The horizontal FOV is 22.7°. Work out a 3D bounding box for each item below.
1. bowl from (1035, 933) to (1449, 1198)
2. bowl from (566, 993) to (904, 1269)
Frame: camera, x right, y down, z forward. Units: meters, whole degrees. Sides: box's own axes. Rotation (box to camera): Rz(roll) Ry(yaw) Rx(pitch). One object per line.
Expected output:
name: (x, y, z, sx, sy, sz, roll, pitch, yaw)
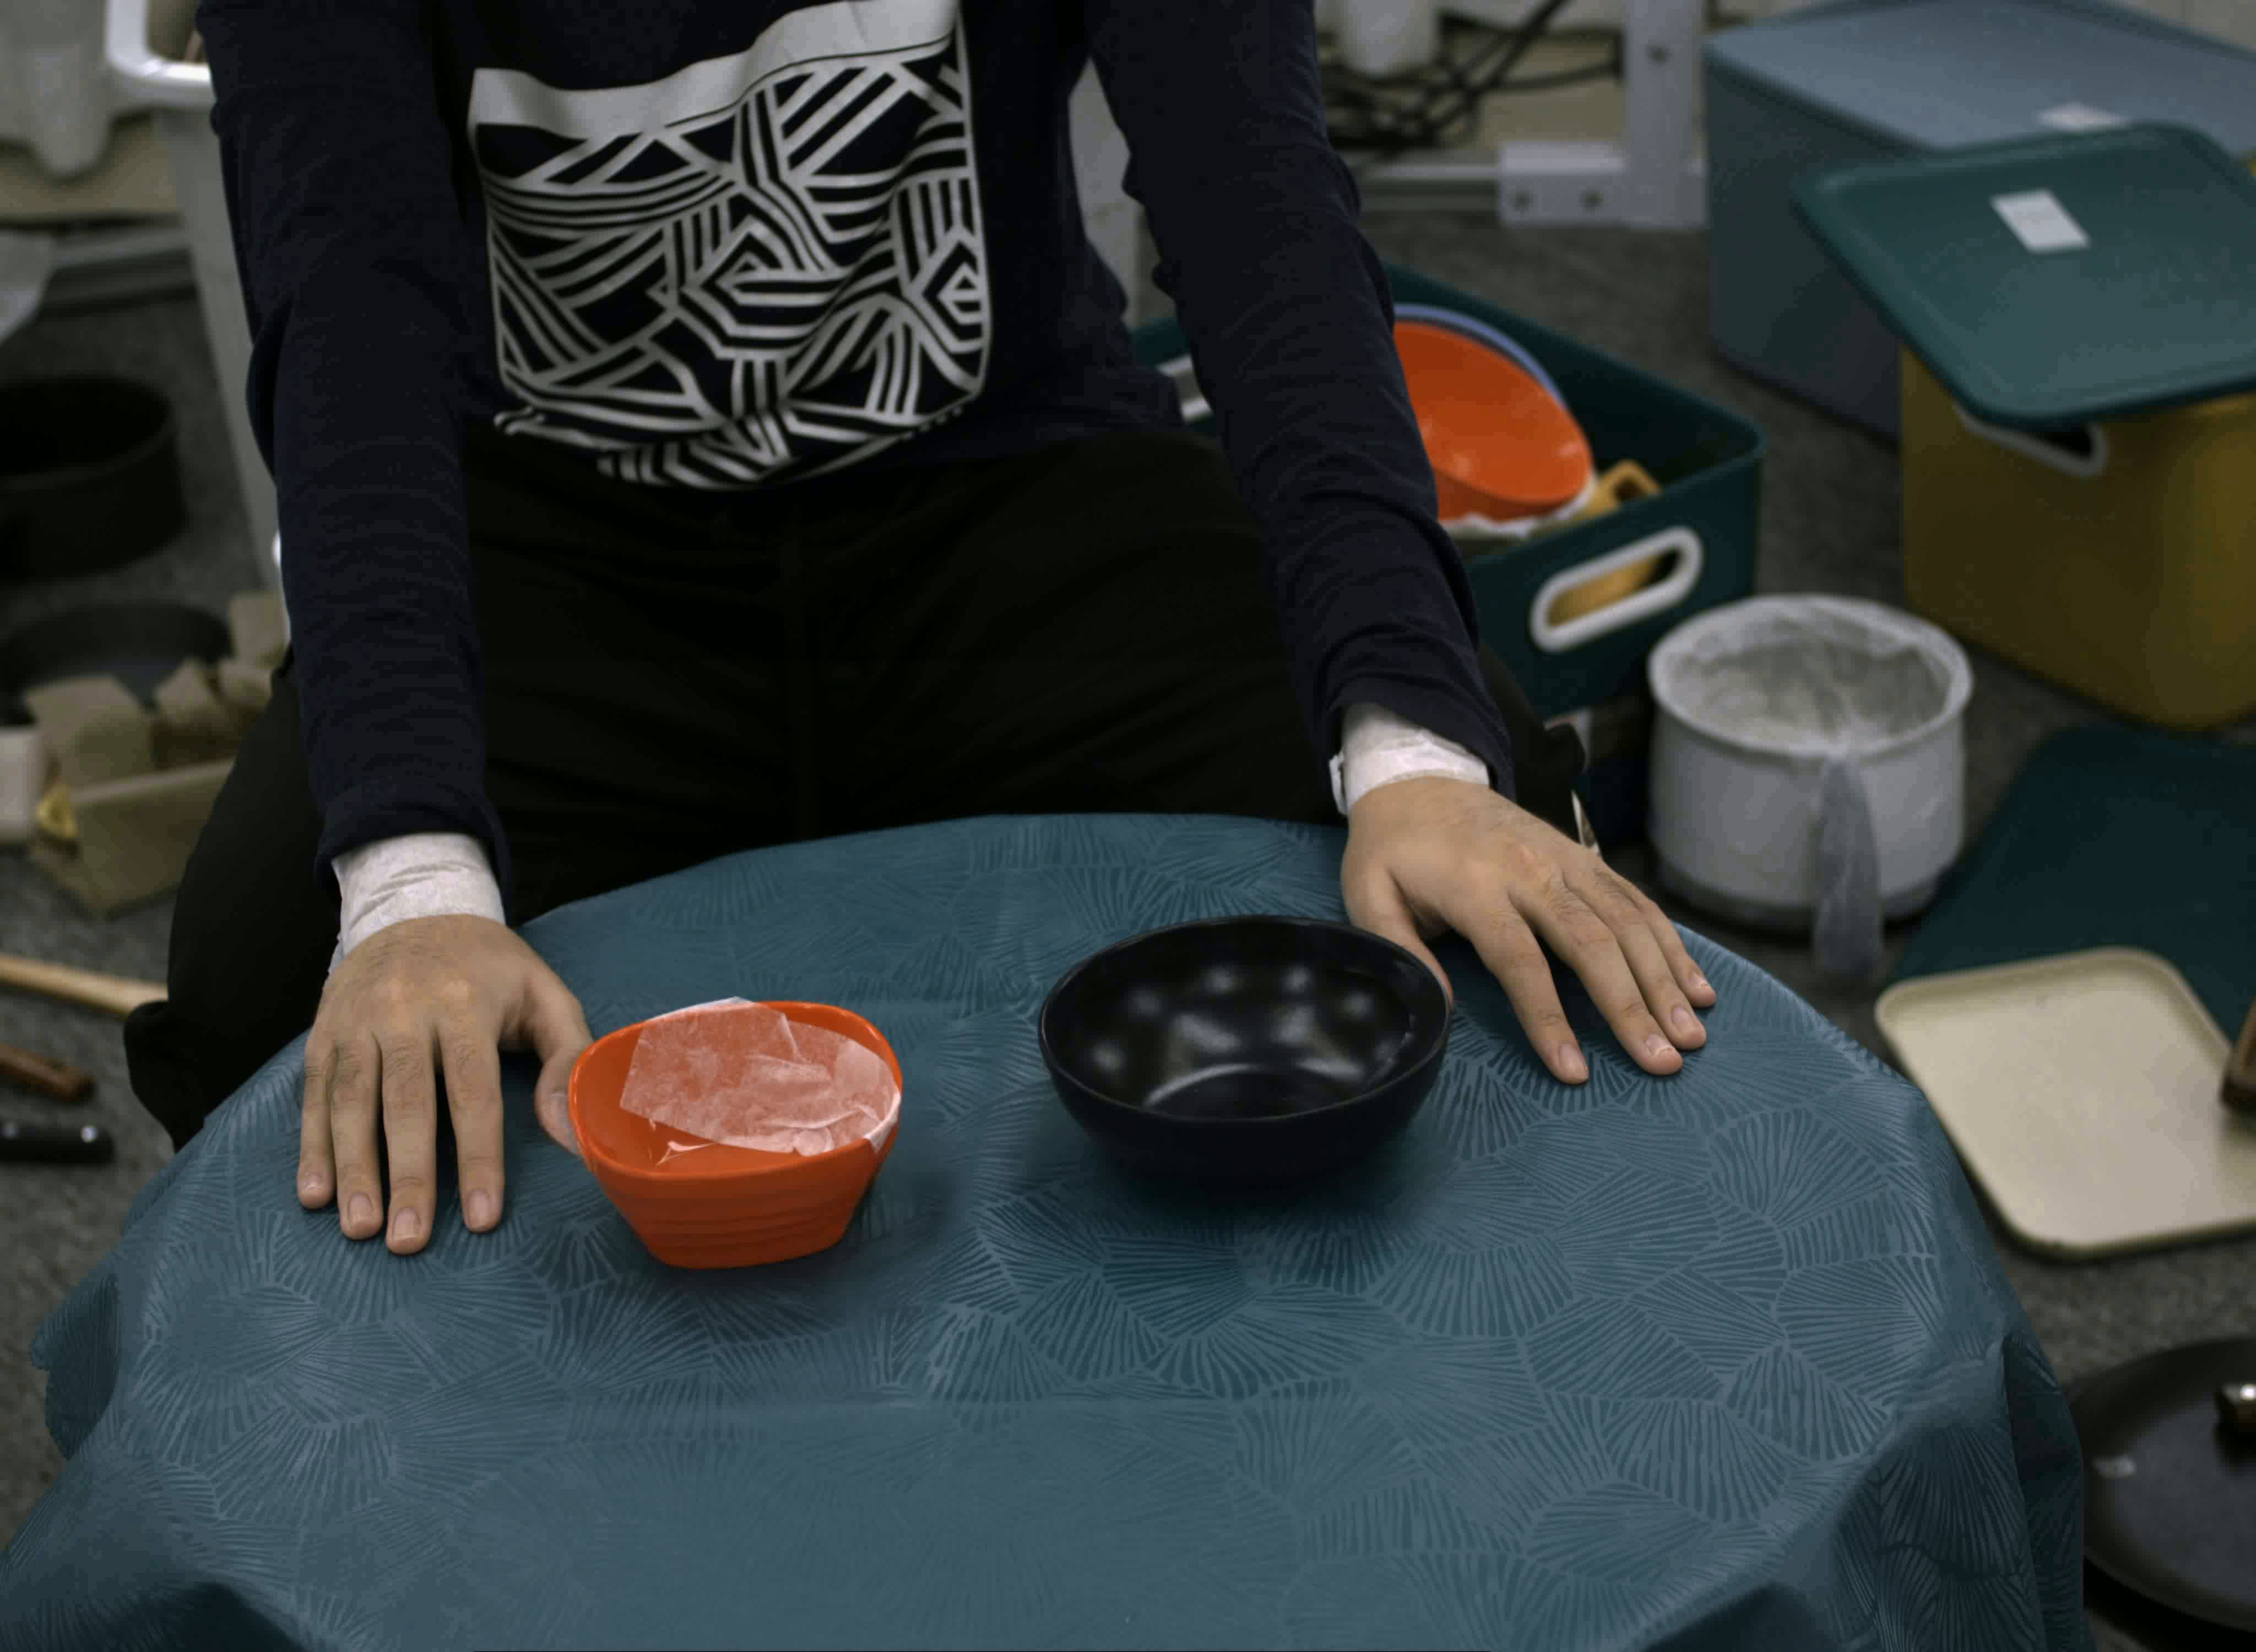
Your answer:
bowl: (0.039, 0.087, 1.879, 0.139, 0.049, 0.142, -2, 23, 1)
bowl: (-0.127, 0.105, 1.848, 0.118, 0.051, 0.121, -3, 29, 2)
